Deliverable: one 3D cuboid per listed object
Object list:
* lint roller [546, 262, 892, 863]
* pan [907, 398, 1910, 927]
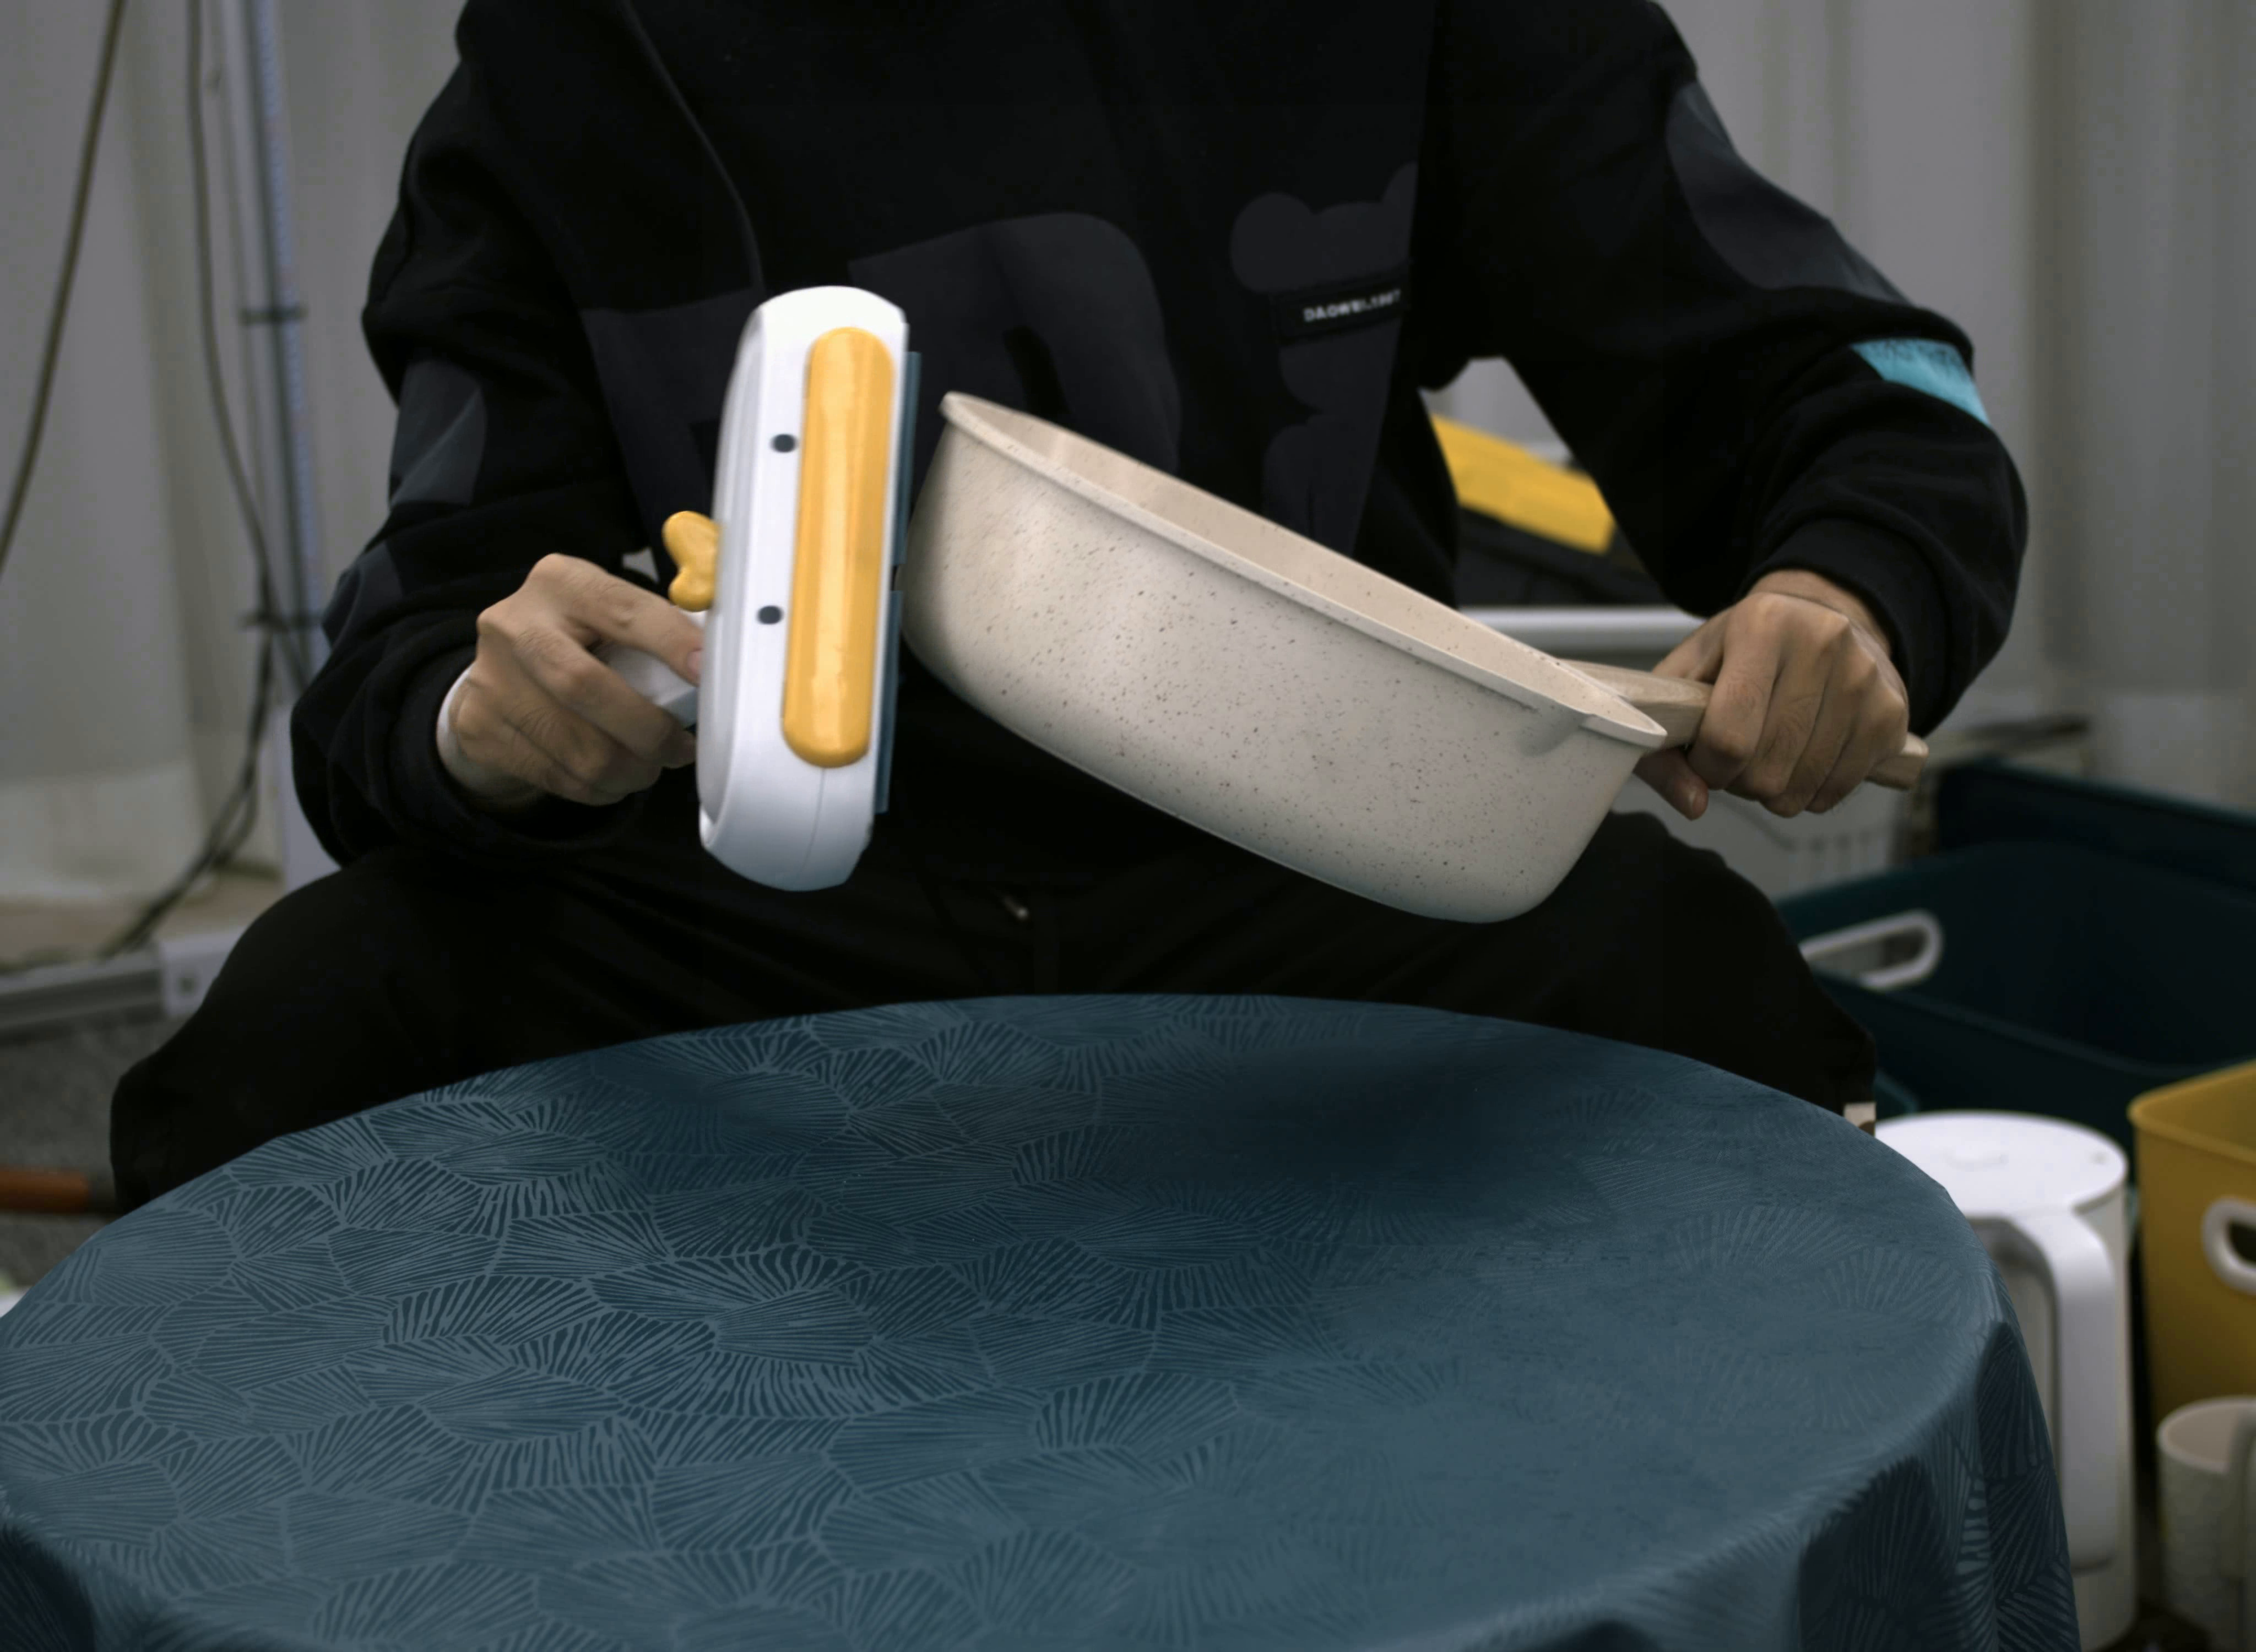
[{"bbox_3d":[-0.130,-0.059,1.728,0.073,0.195,0.191,6,-26,-22],"label":"lint roller"},{"bbox_3d":[0.108,-0.031,1.788,0.430,0.102,0.266,20,6,-44],"label":"pan"}]
